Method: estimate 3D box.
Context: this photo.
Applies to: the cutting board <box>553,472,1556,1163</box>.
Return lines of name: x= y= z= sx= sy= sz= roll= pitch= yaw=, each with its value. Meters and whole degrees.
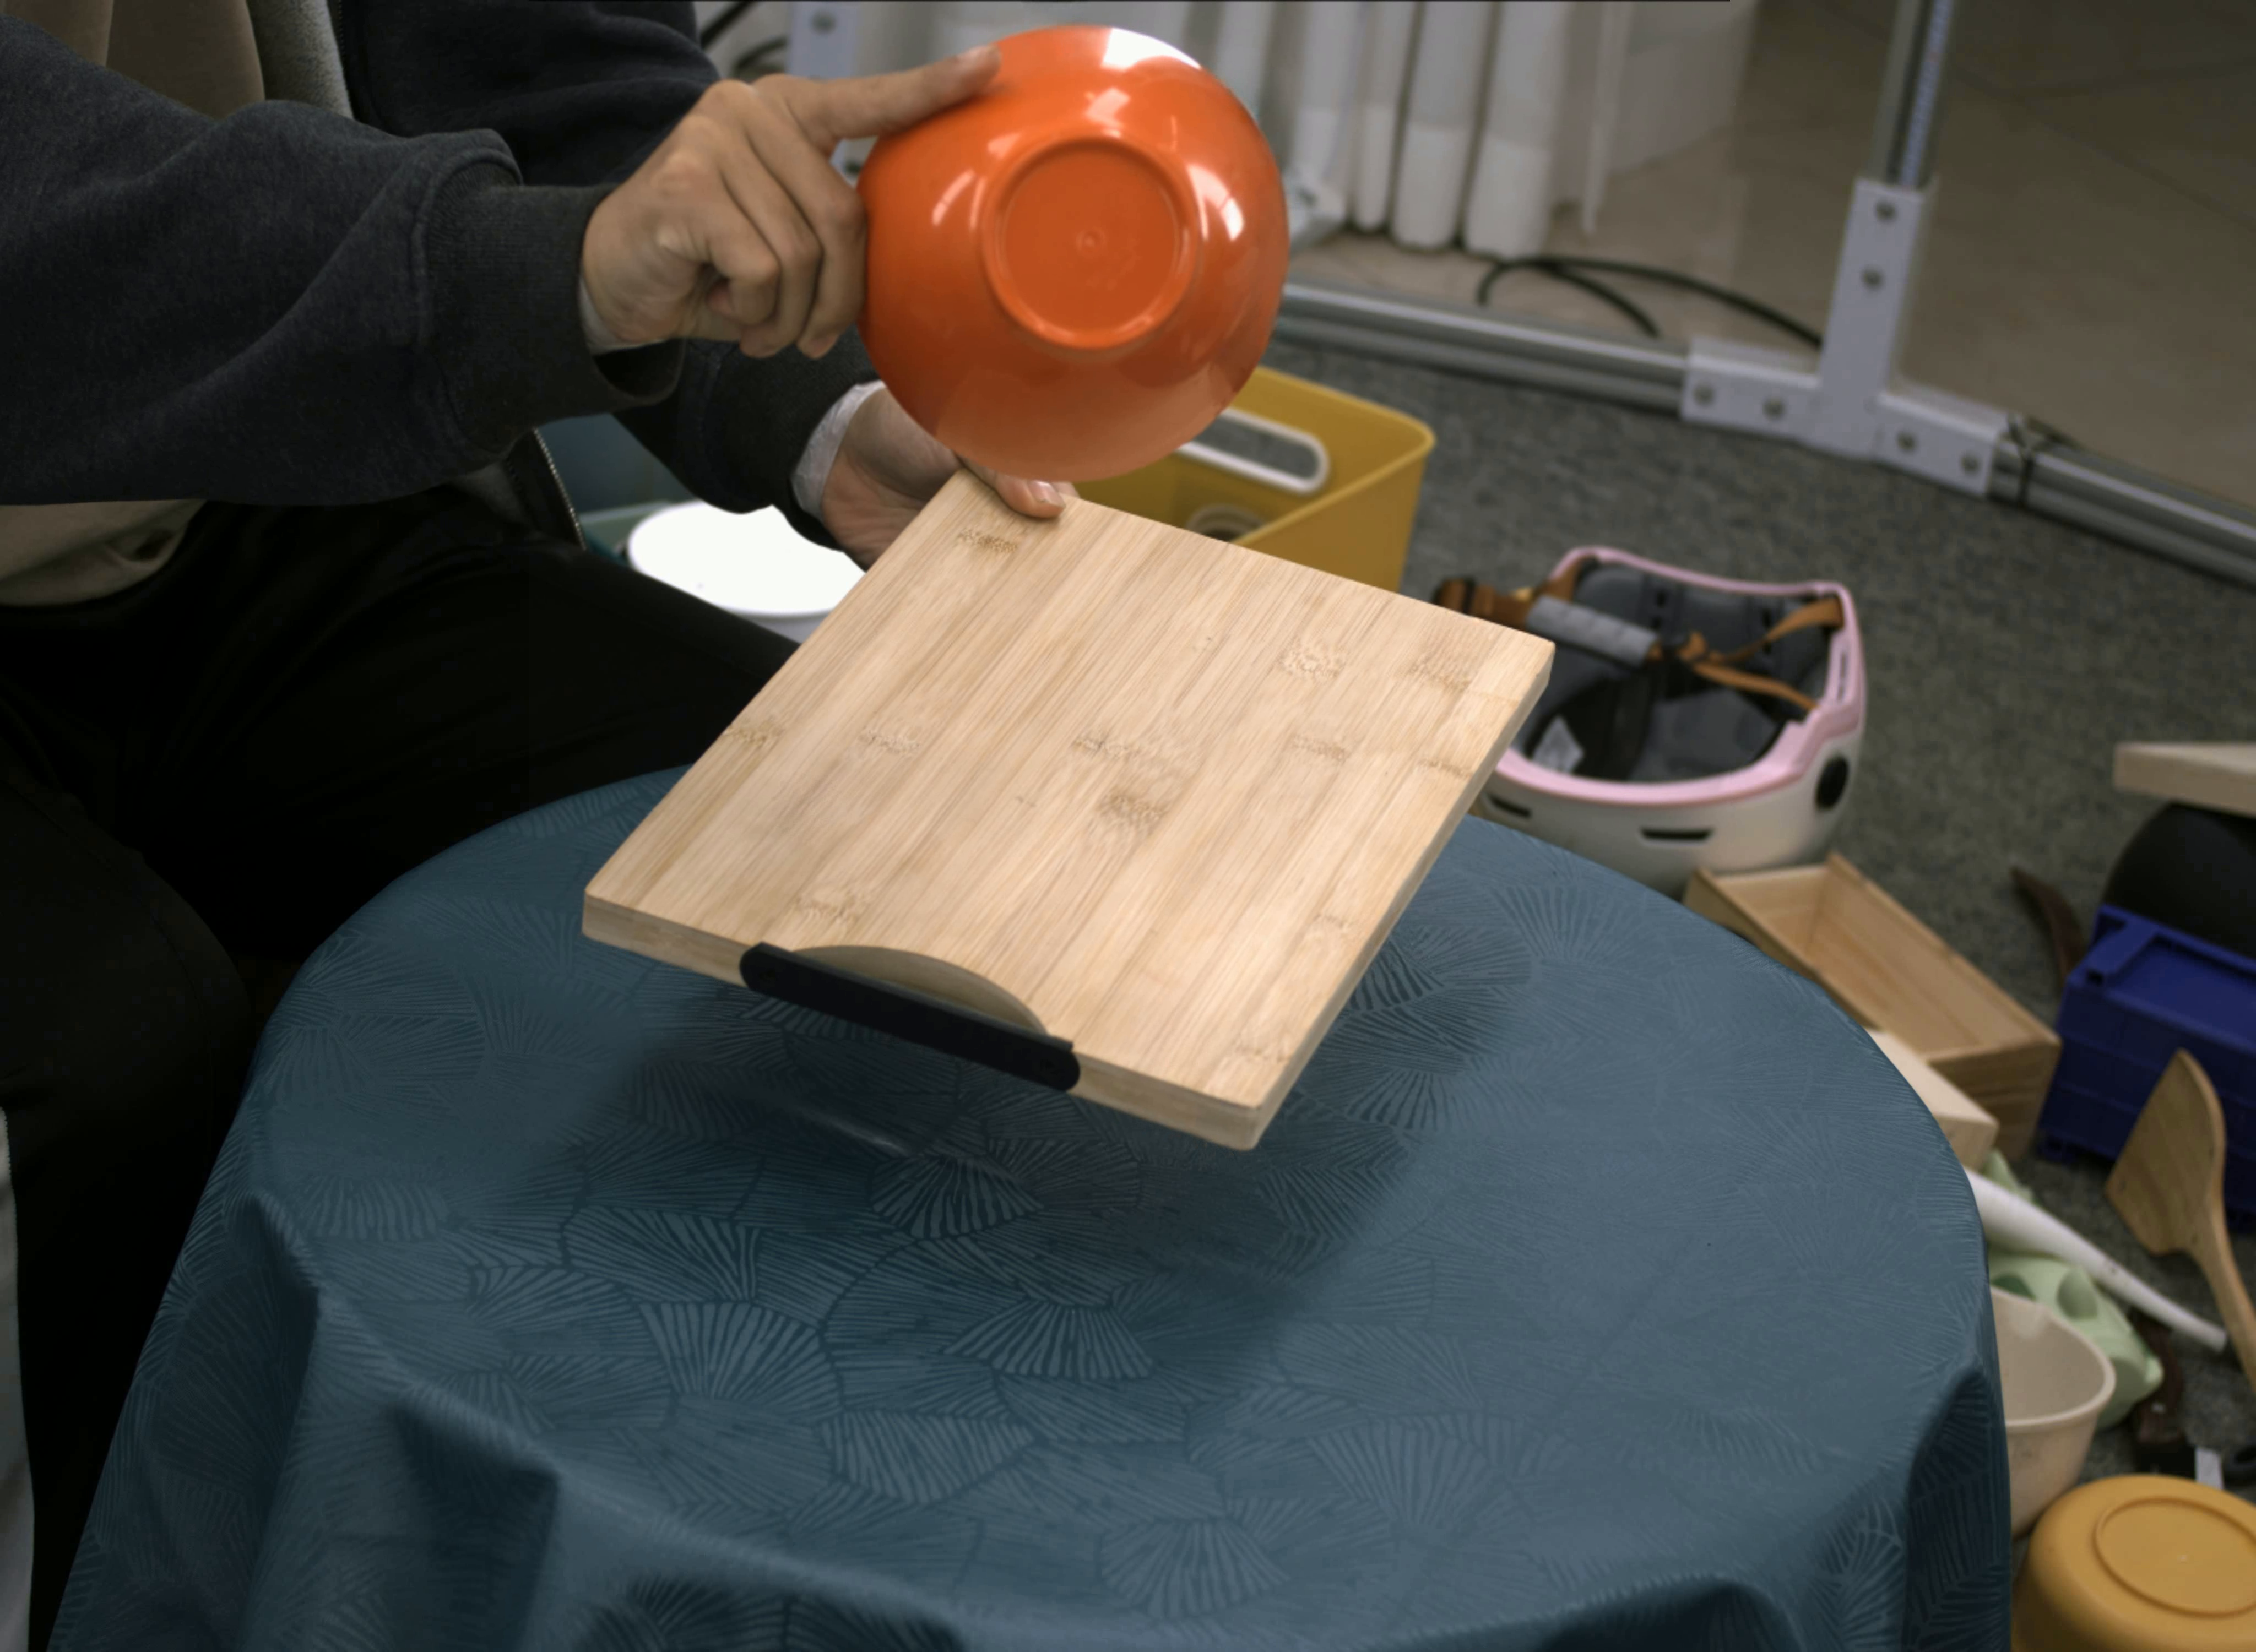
cutting board: x=-0.015 y=-0.012 z=1.857 sx=0.251 sy=0.023 sz=0.349 roll=16 pitch=33 yaw=14

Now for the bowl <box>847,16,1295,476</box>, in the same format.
bowl: x=-0.012 y=-0.180 z=1.668 sx=0.147 sy=0.148 sz=0.105 roll=3 pitch=7 yaw=-8
